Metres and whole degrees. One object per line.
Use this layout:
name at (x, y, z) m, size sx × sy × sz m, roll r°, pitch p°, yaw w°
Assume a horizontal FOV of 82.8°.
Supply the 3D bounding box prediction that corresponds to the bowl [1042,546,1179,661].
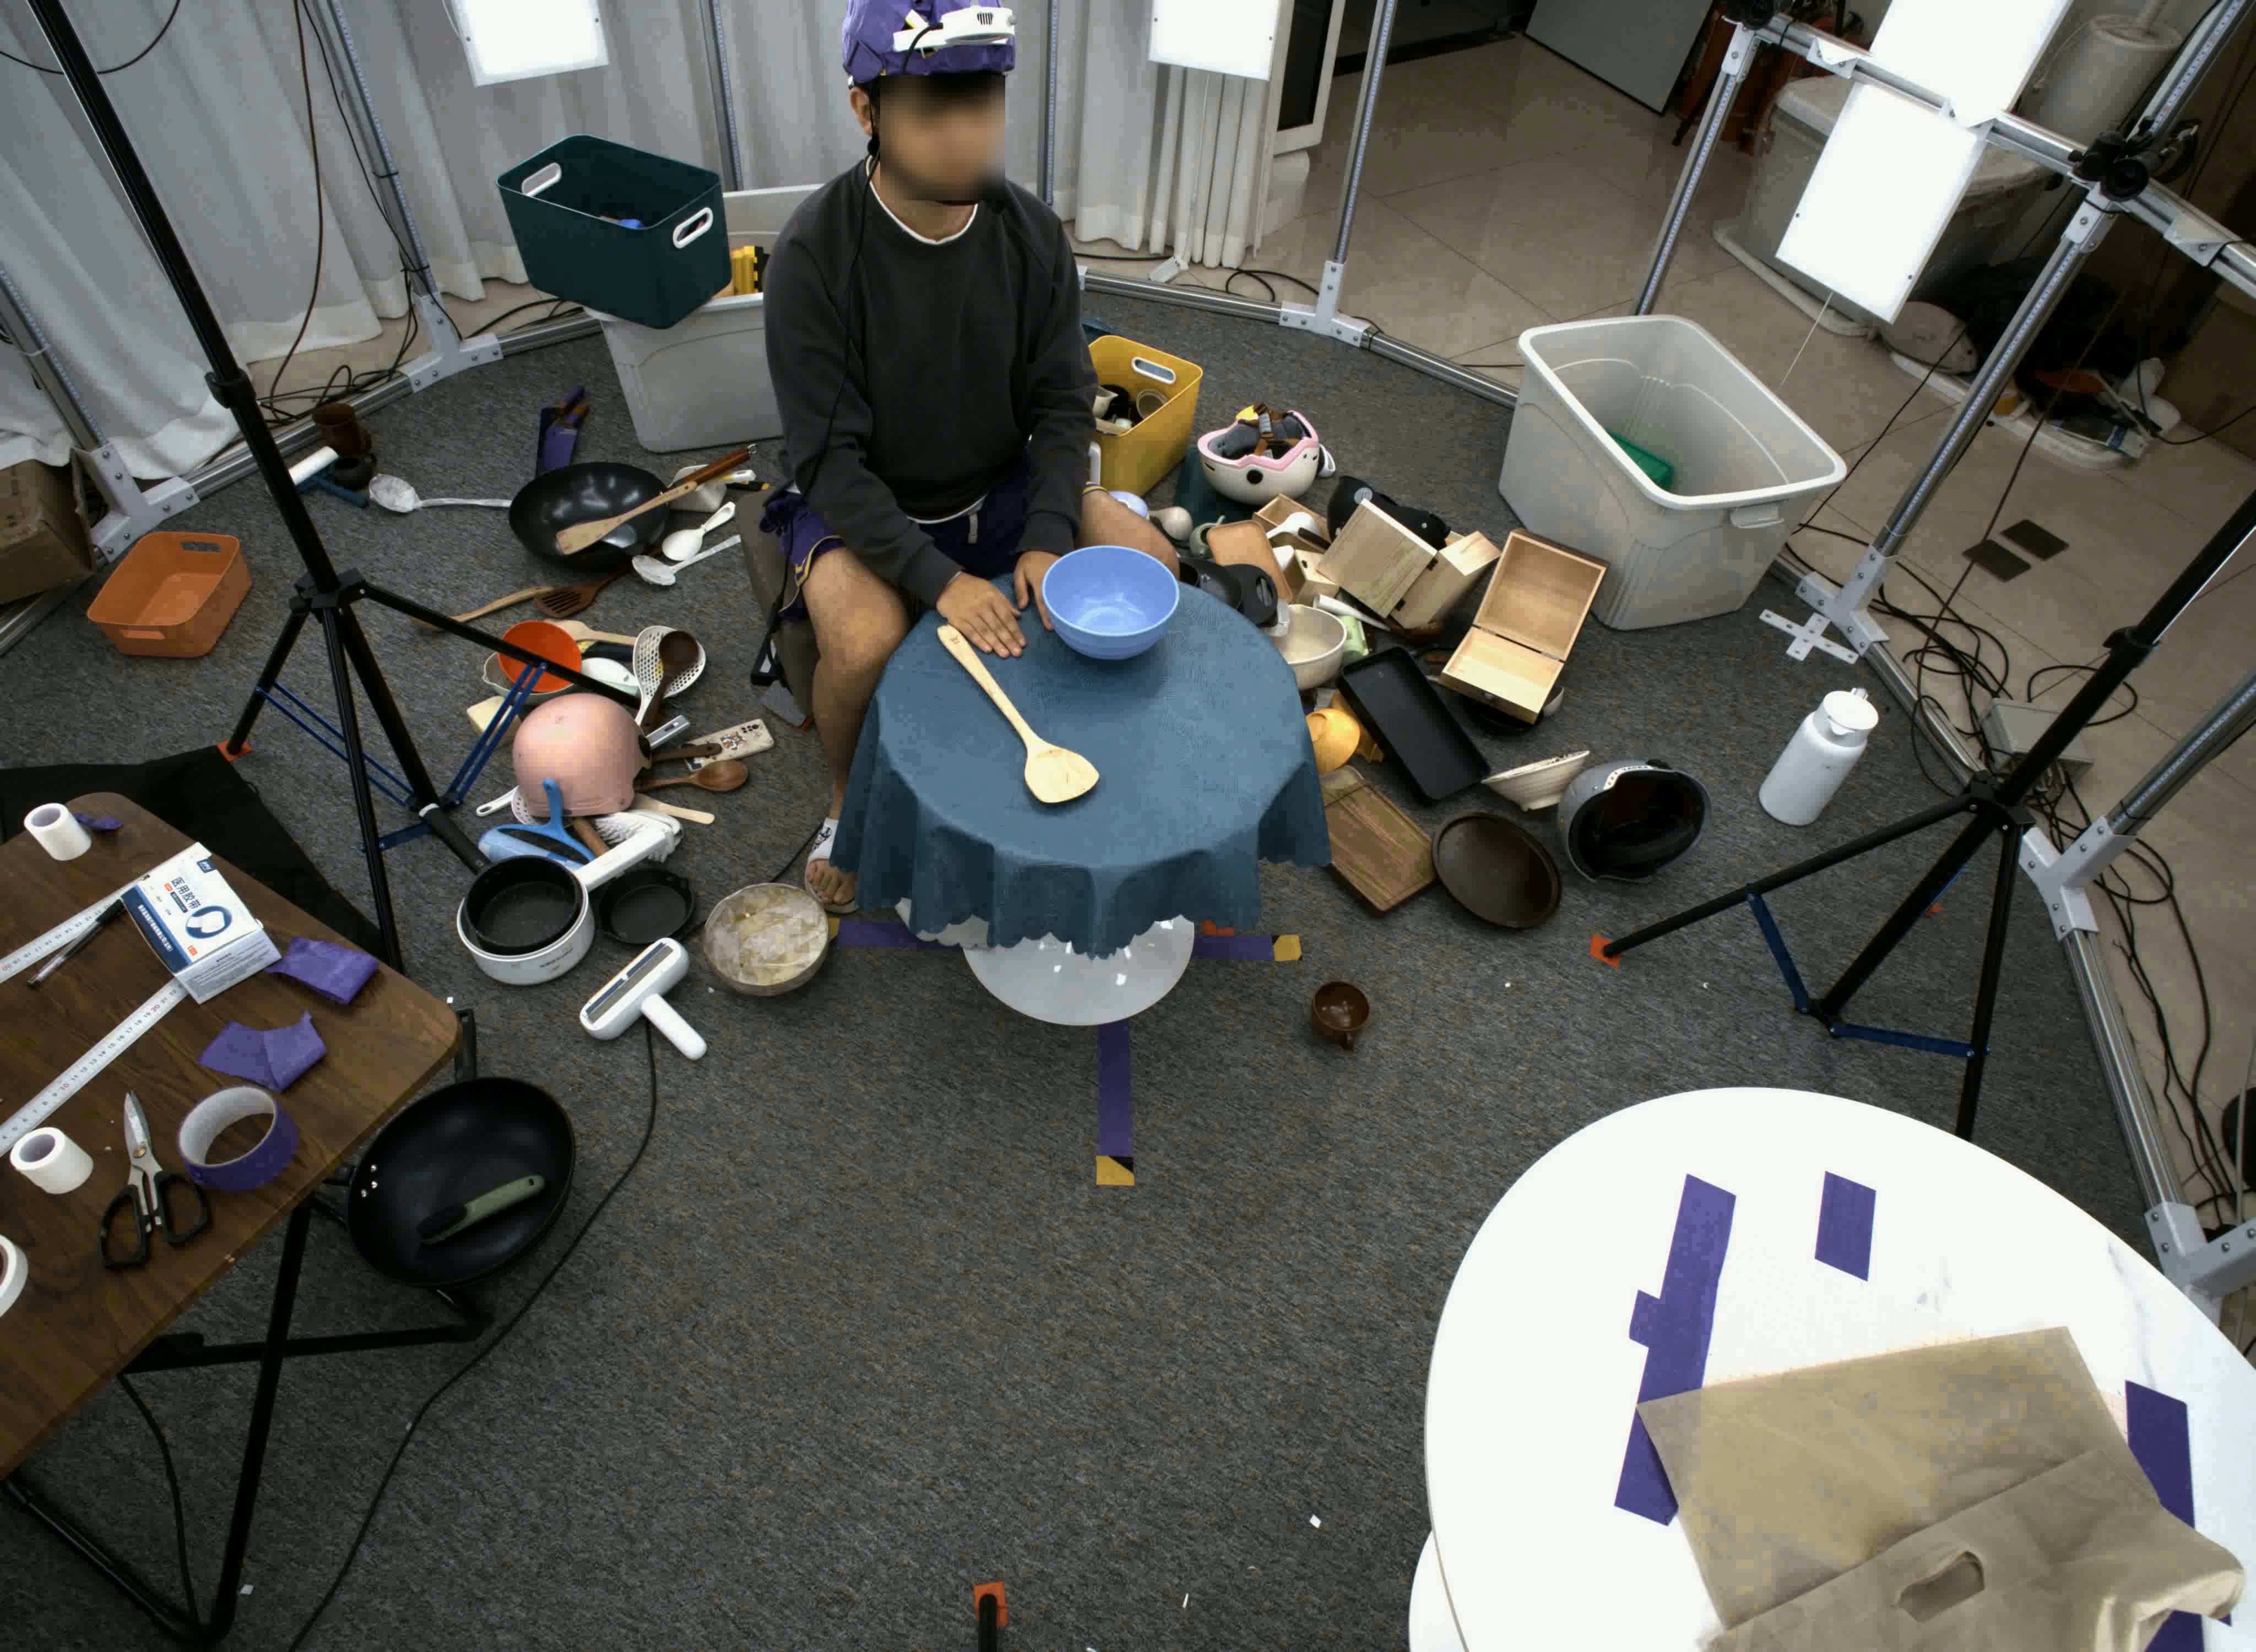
bowl at (-0.027, -0.309, 1.875) m, size 0.196 × 0.093 × 0.201 m, roll 1°, pitch 51°, yaw -1°

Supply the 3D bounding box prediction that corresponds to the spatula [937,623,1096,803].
spatula at (-0.175, -0.165, 1.786) m, size 0.096 × 0.018 × 0.399 m, roll -22°, pitch 54°, yaw -24°
